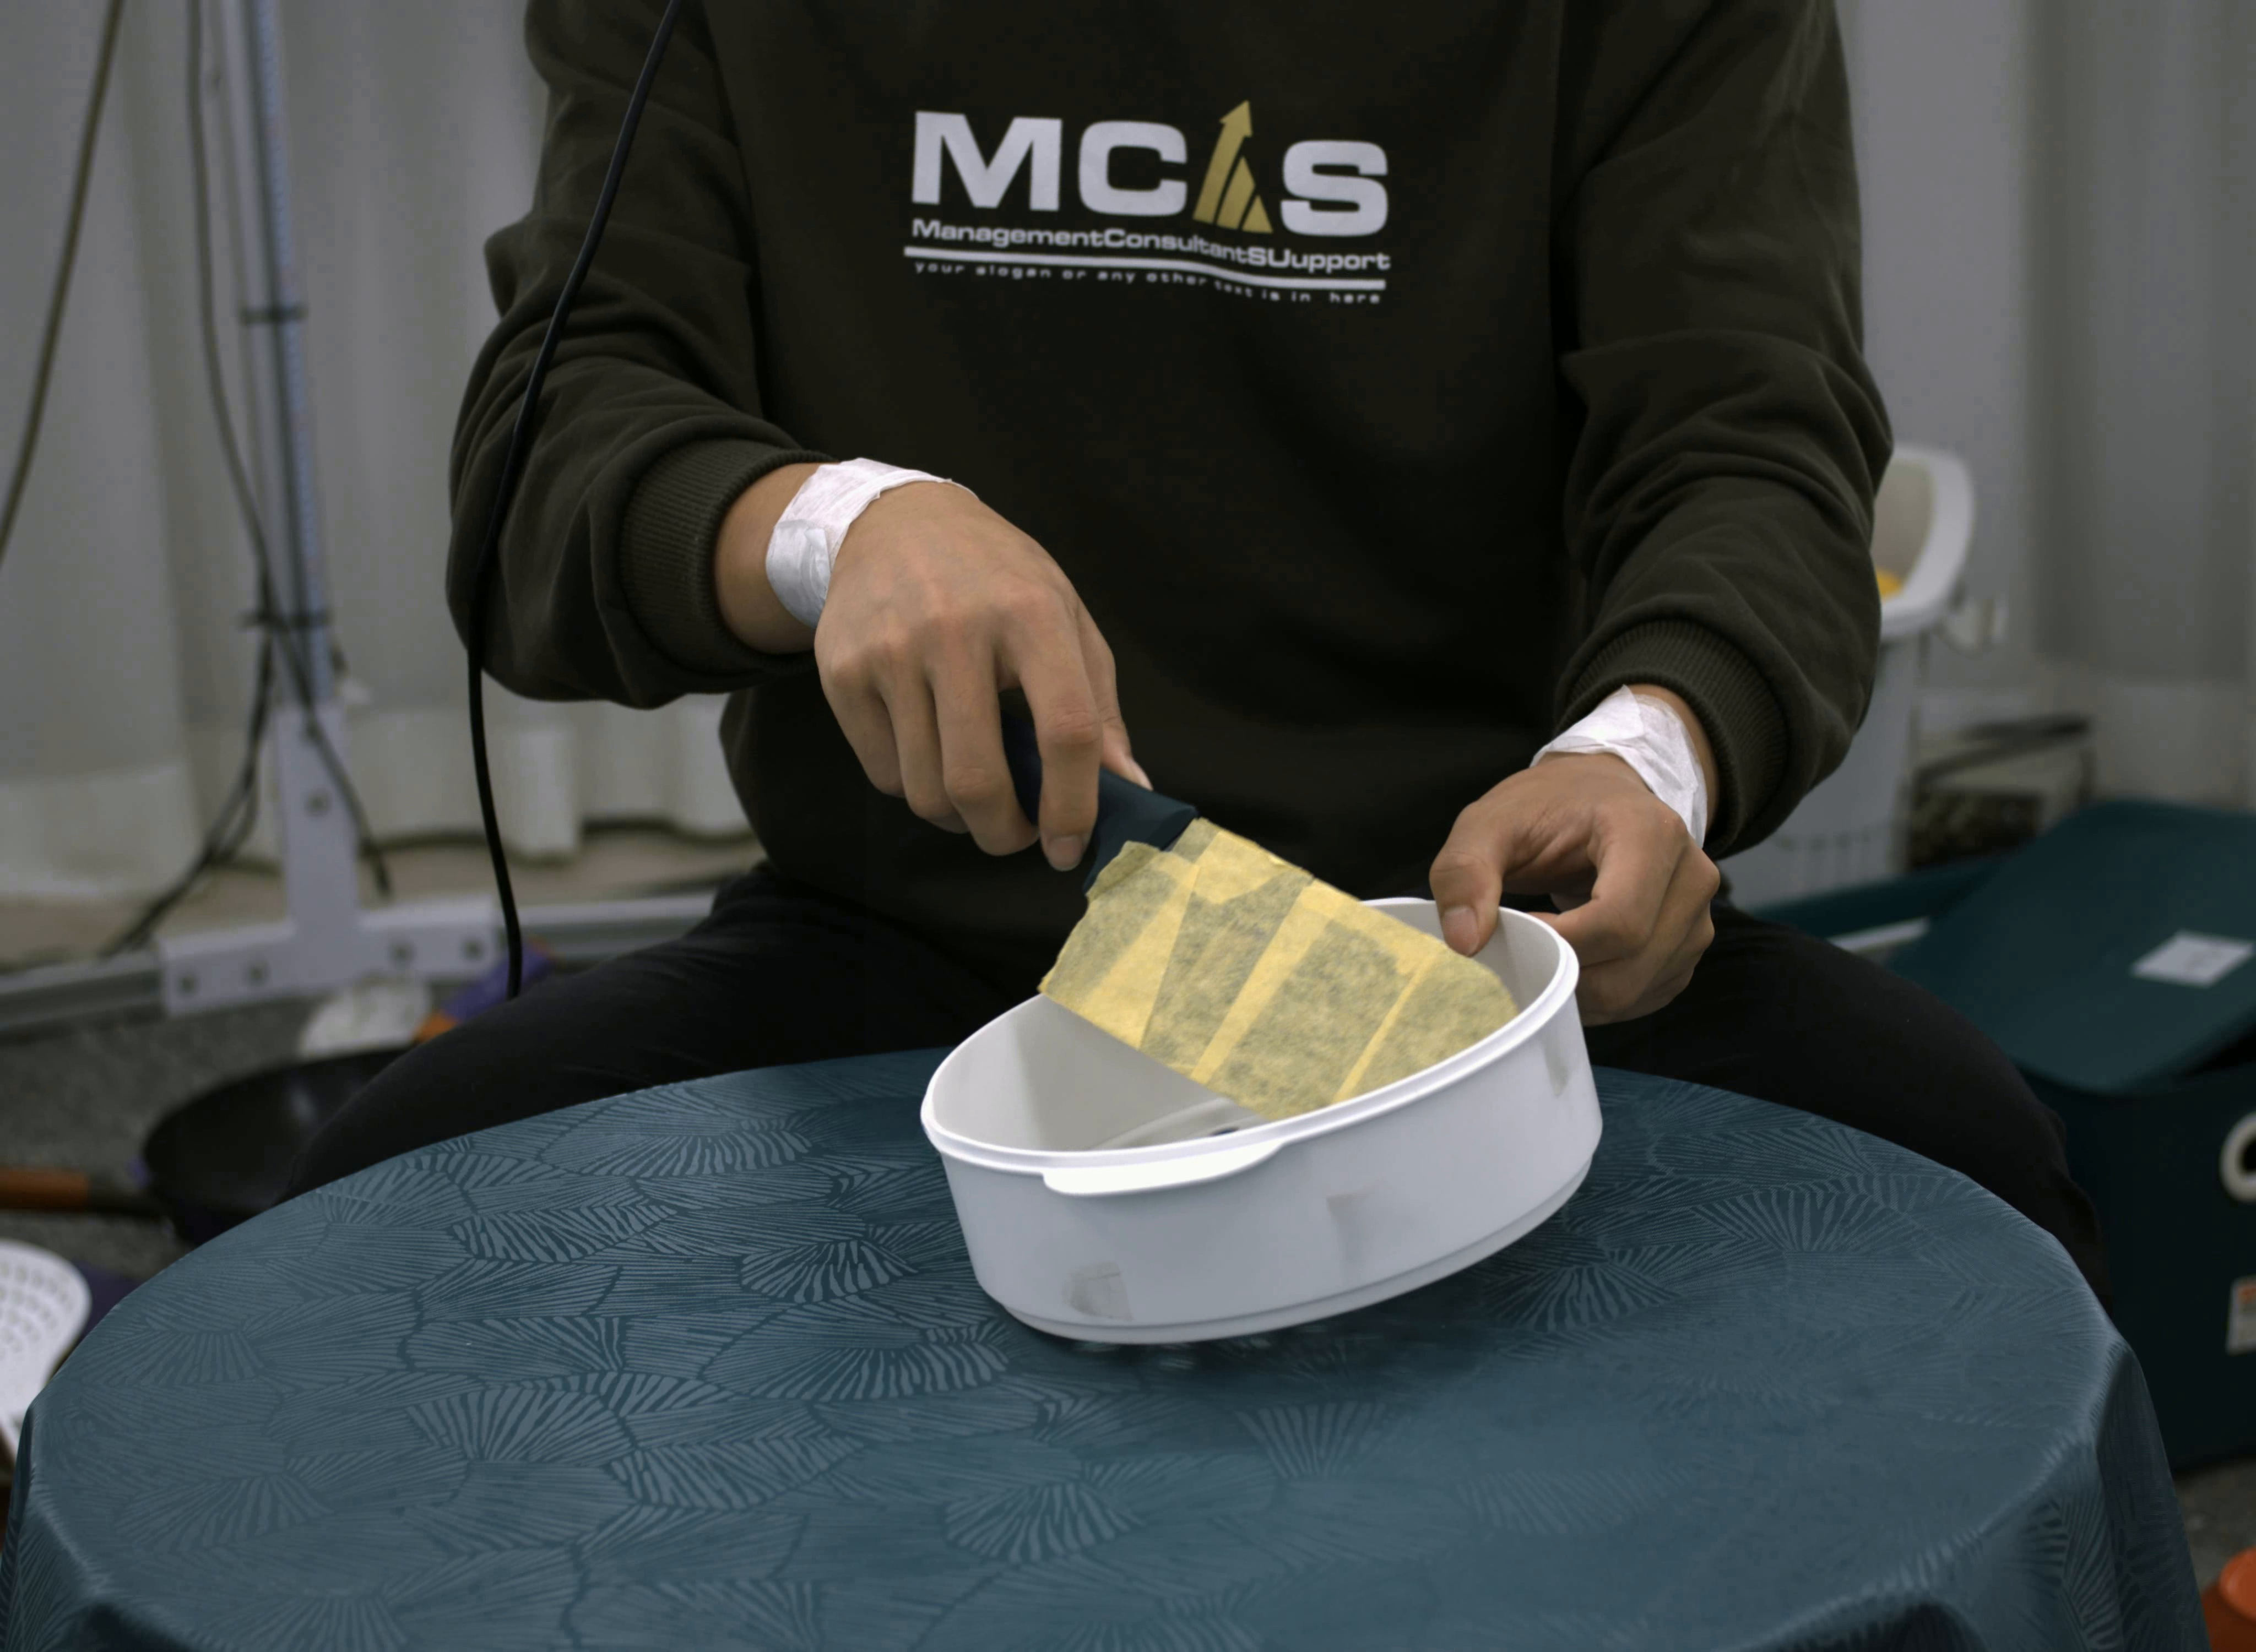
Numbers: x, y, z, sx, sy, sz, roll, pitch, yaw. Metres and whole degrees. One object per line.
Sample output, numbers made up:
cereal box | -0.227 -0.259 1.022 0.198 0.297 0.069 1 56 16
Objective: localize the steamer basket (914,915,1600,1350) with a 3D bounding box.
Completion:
steamer basket | 0.041 0.091 1.623 0.201 0.069 0.232 -8 15 20

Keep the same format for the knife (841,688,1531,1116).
knife | 0.013 0.030 1.672 0.292 0.081 0.027 30 -14 32
